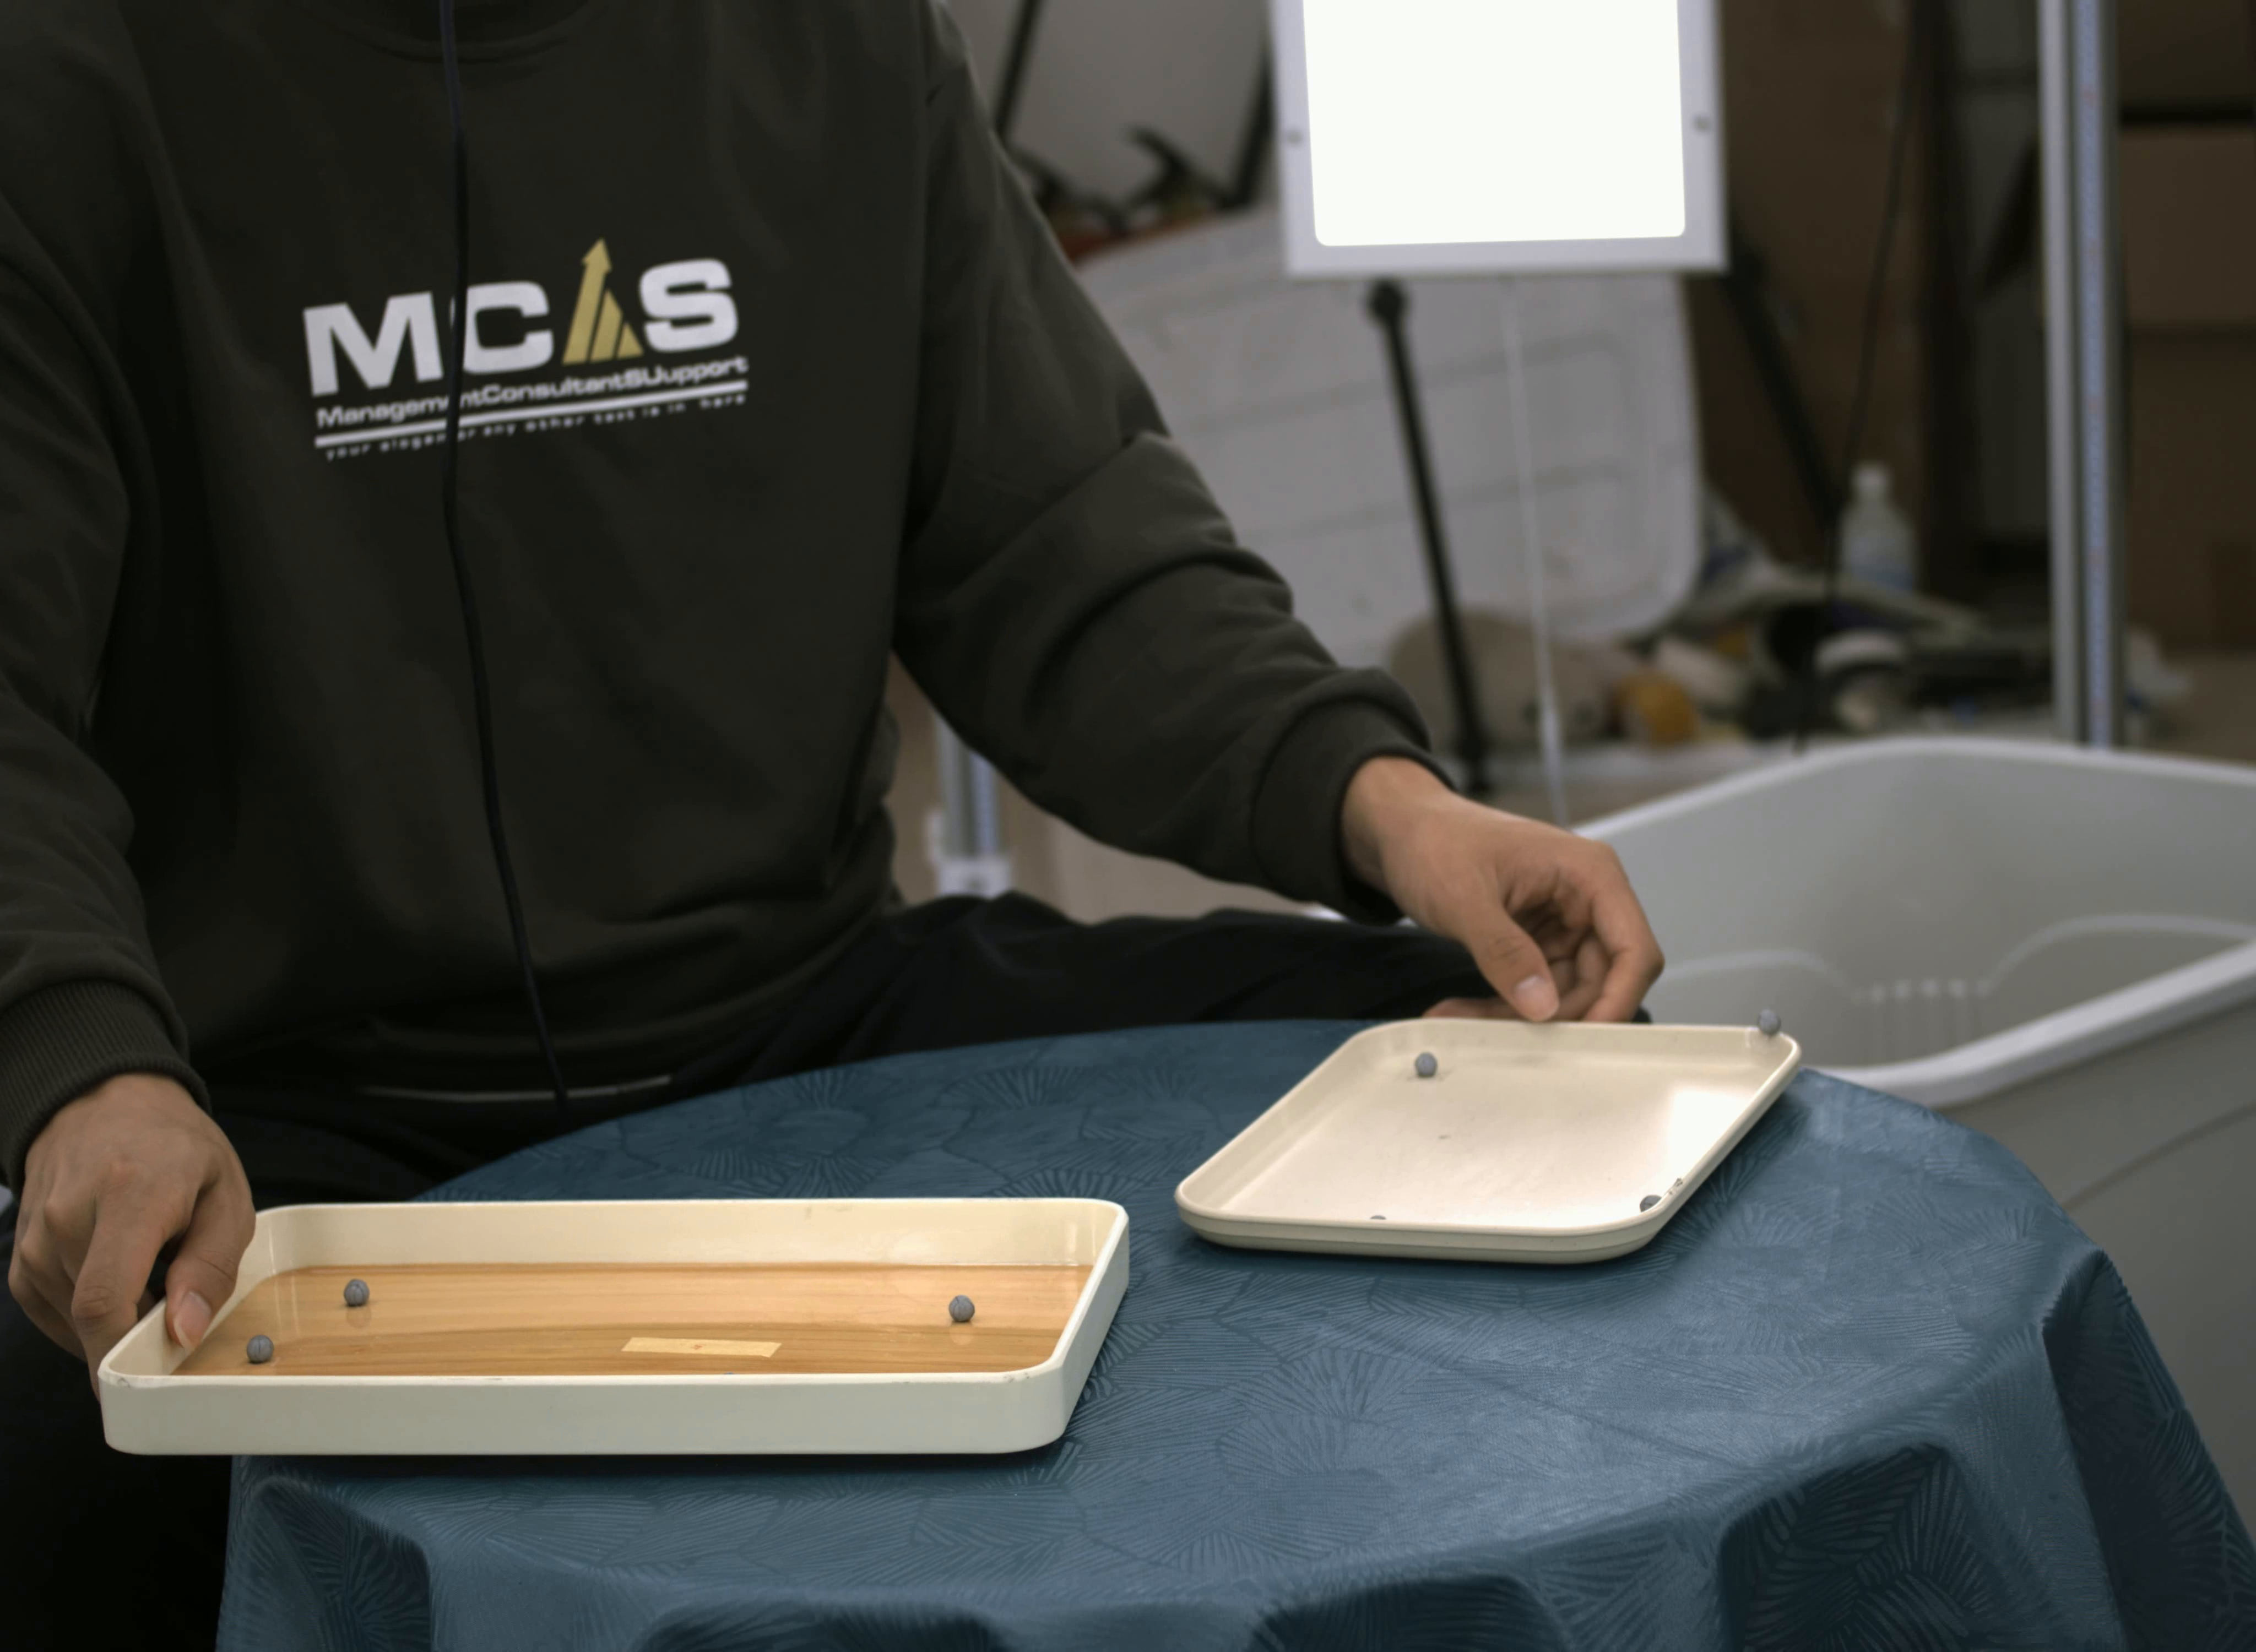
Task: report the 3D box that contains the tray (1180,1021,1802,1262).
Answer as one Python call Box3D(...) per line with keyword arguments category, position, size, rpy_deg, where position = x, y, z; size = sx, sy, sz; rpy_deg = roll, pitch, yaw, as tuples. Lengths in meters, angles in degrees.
Box3D(category="tray", position=(0.129, 0.108, 1.895), size=(0.174, 0.017, 0.235), rpy_deg=(0, 14, 23))

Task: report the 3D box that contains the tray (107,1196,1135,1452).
Box3D(category="tray", position=(-0.155, 0.157, 1.751), size=(0.302, 0.027, 0.190), rpy_deg=(-1, 12, 10))
